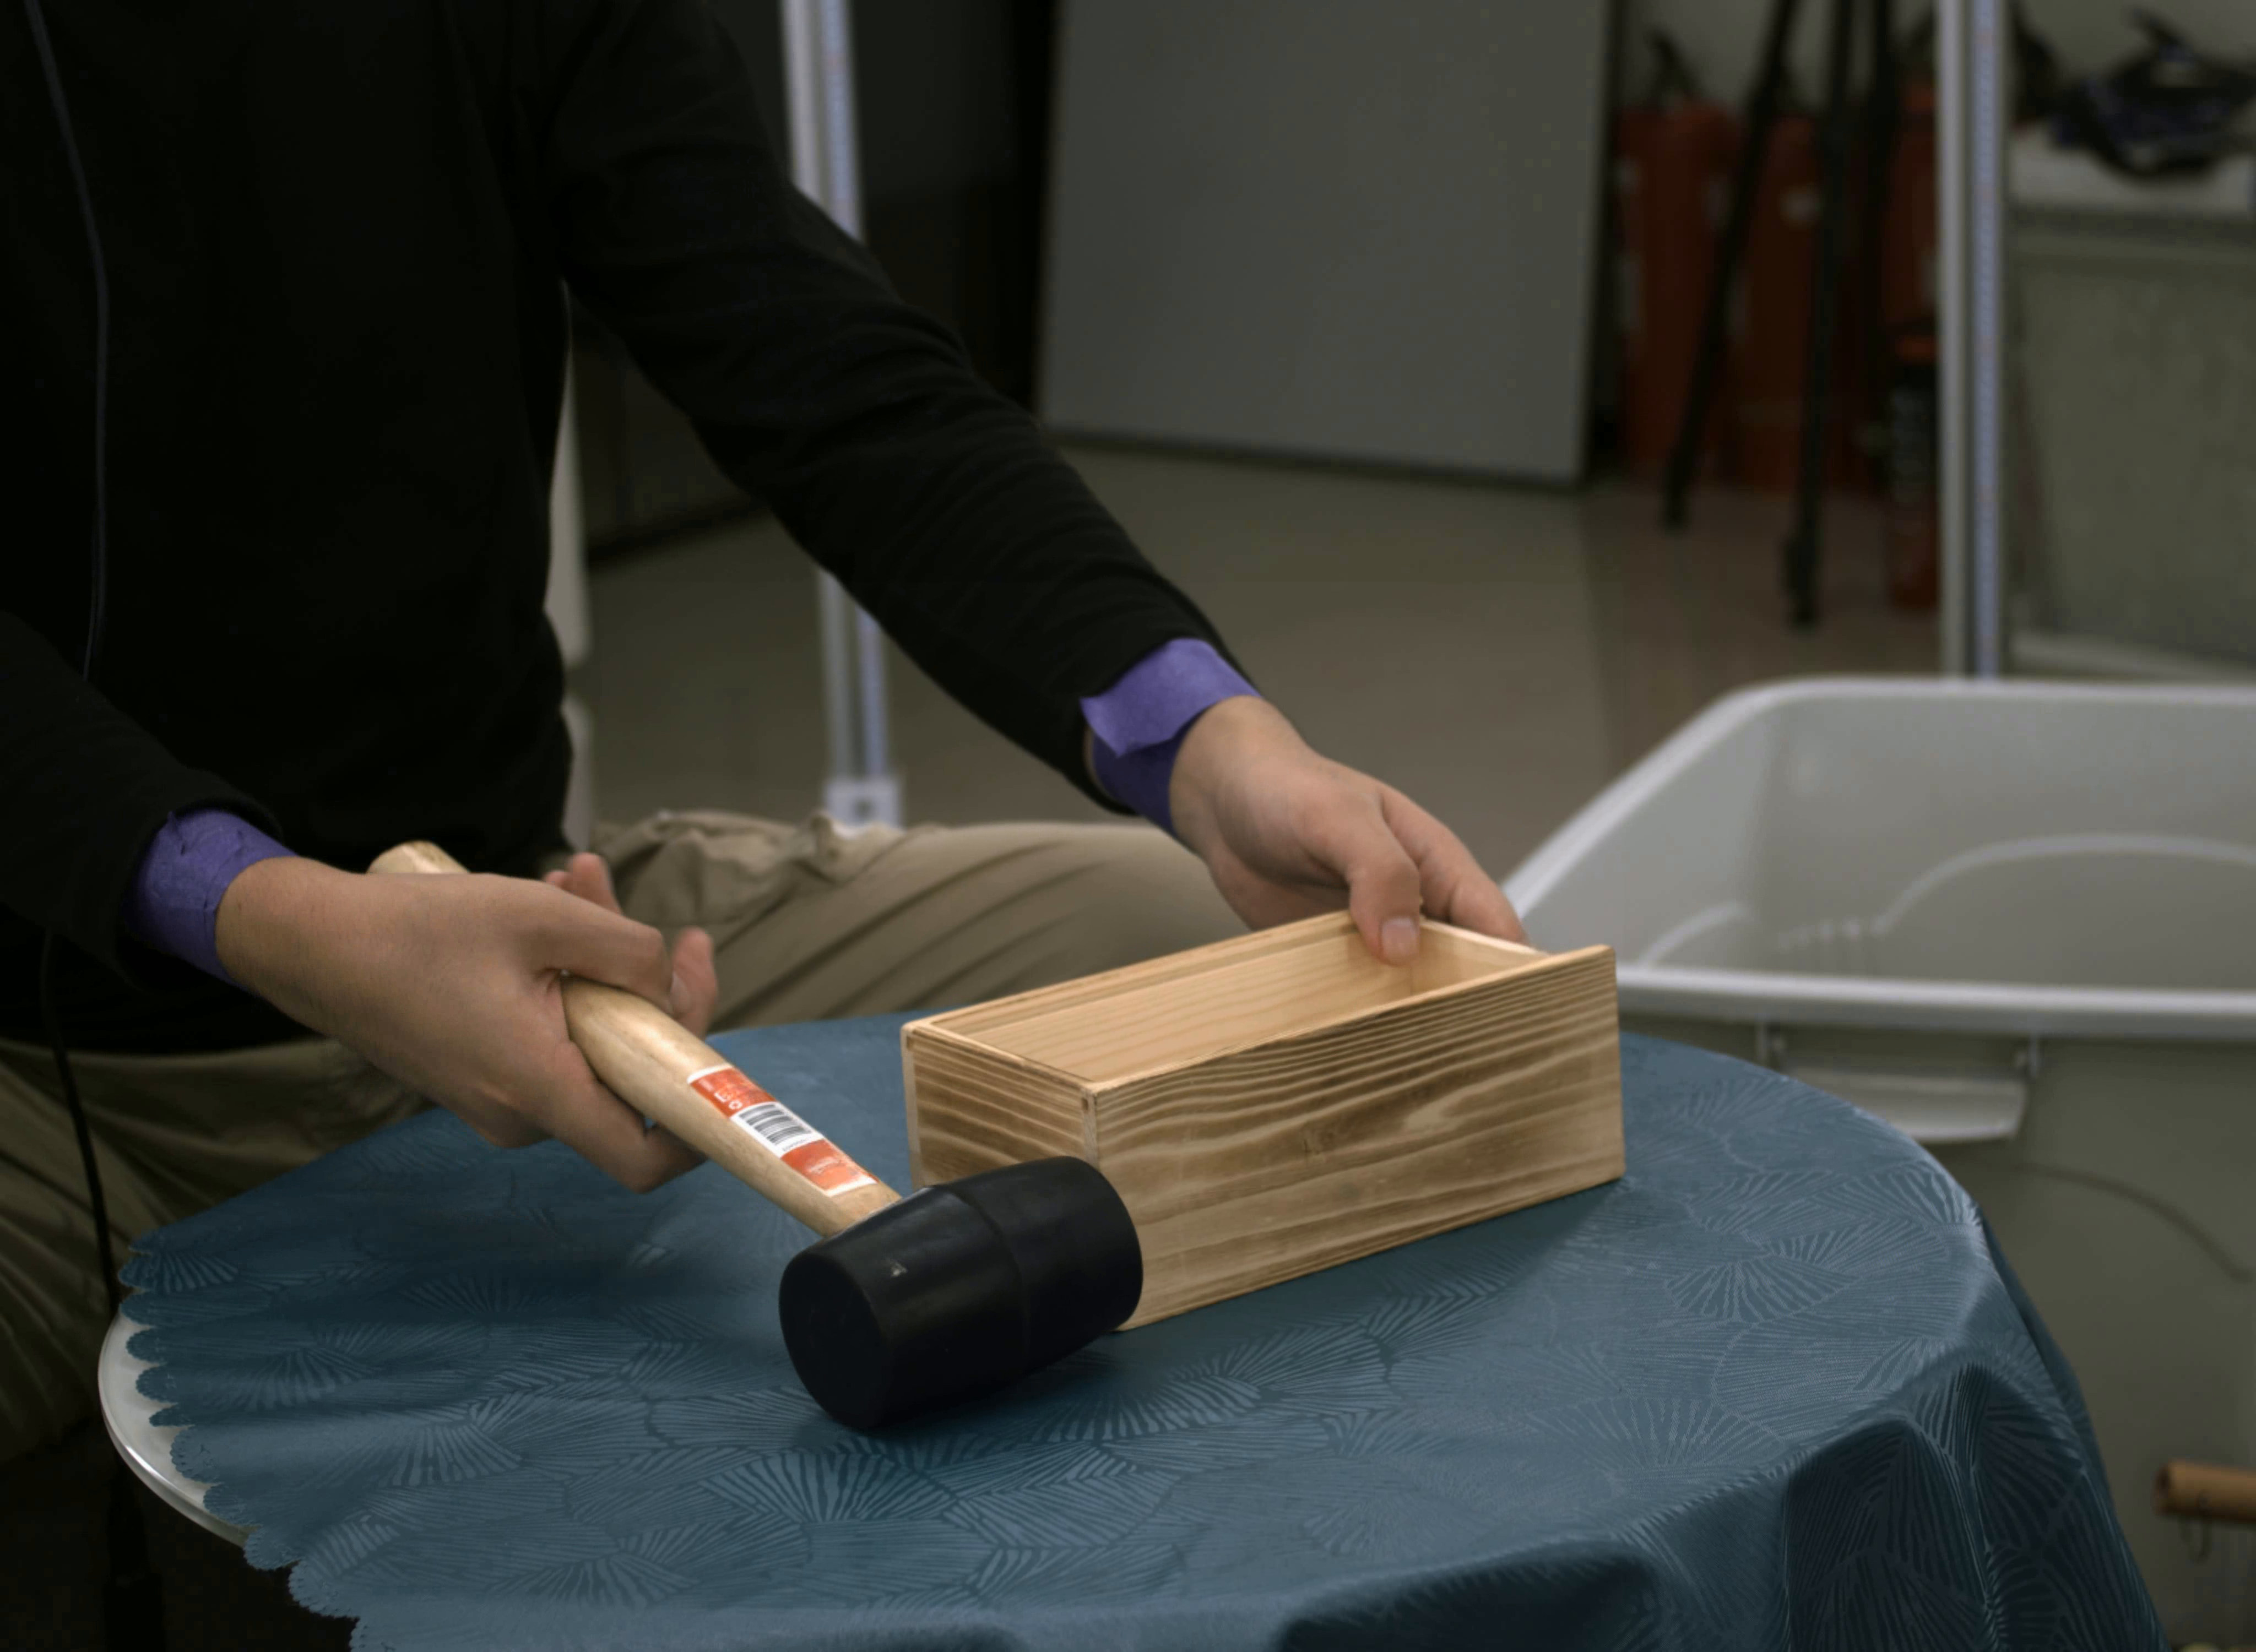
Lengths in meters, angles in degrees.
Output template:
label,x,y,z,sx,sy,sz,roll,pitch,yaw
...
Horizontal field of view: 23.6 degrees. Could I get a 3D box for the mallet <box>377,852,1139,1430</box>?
label,x,y,z,sx,sy,sz,roll,pitch,yaw
mallet,-0.134,0.079,1.685,0.099,0.065,0.343,-14,34,-35

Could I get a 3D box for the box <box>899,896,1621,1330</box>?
label,x,y,z,sx,sy,sz,roll,pitch,yaw
box,0.044,0.088,1.725,0.207,0.081,0.108,-13,16,-33
